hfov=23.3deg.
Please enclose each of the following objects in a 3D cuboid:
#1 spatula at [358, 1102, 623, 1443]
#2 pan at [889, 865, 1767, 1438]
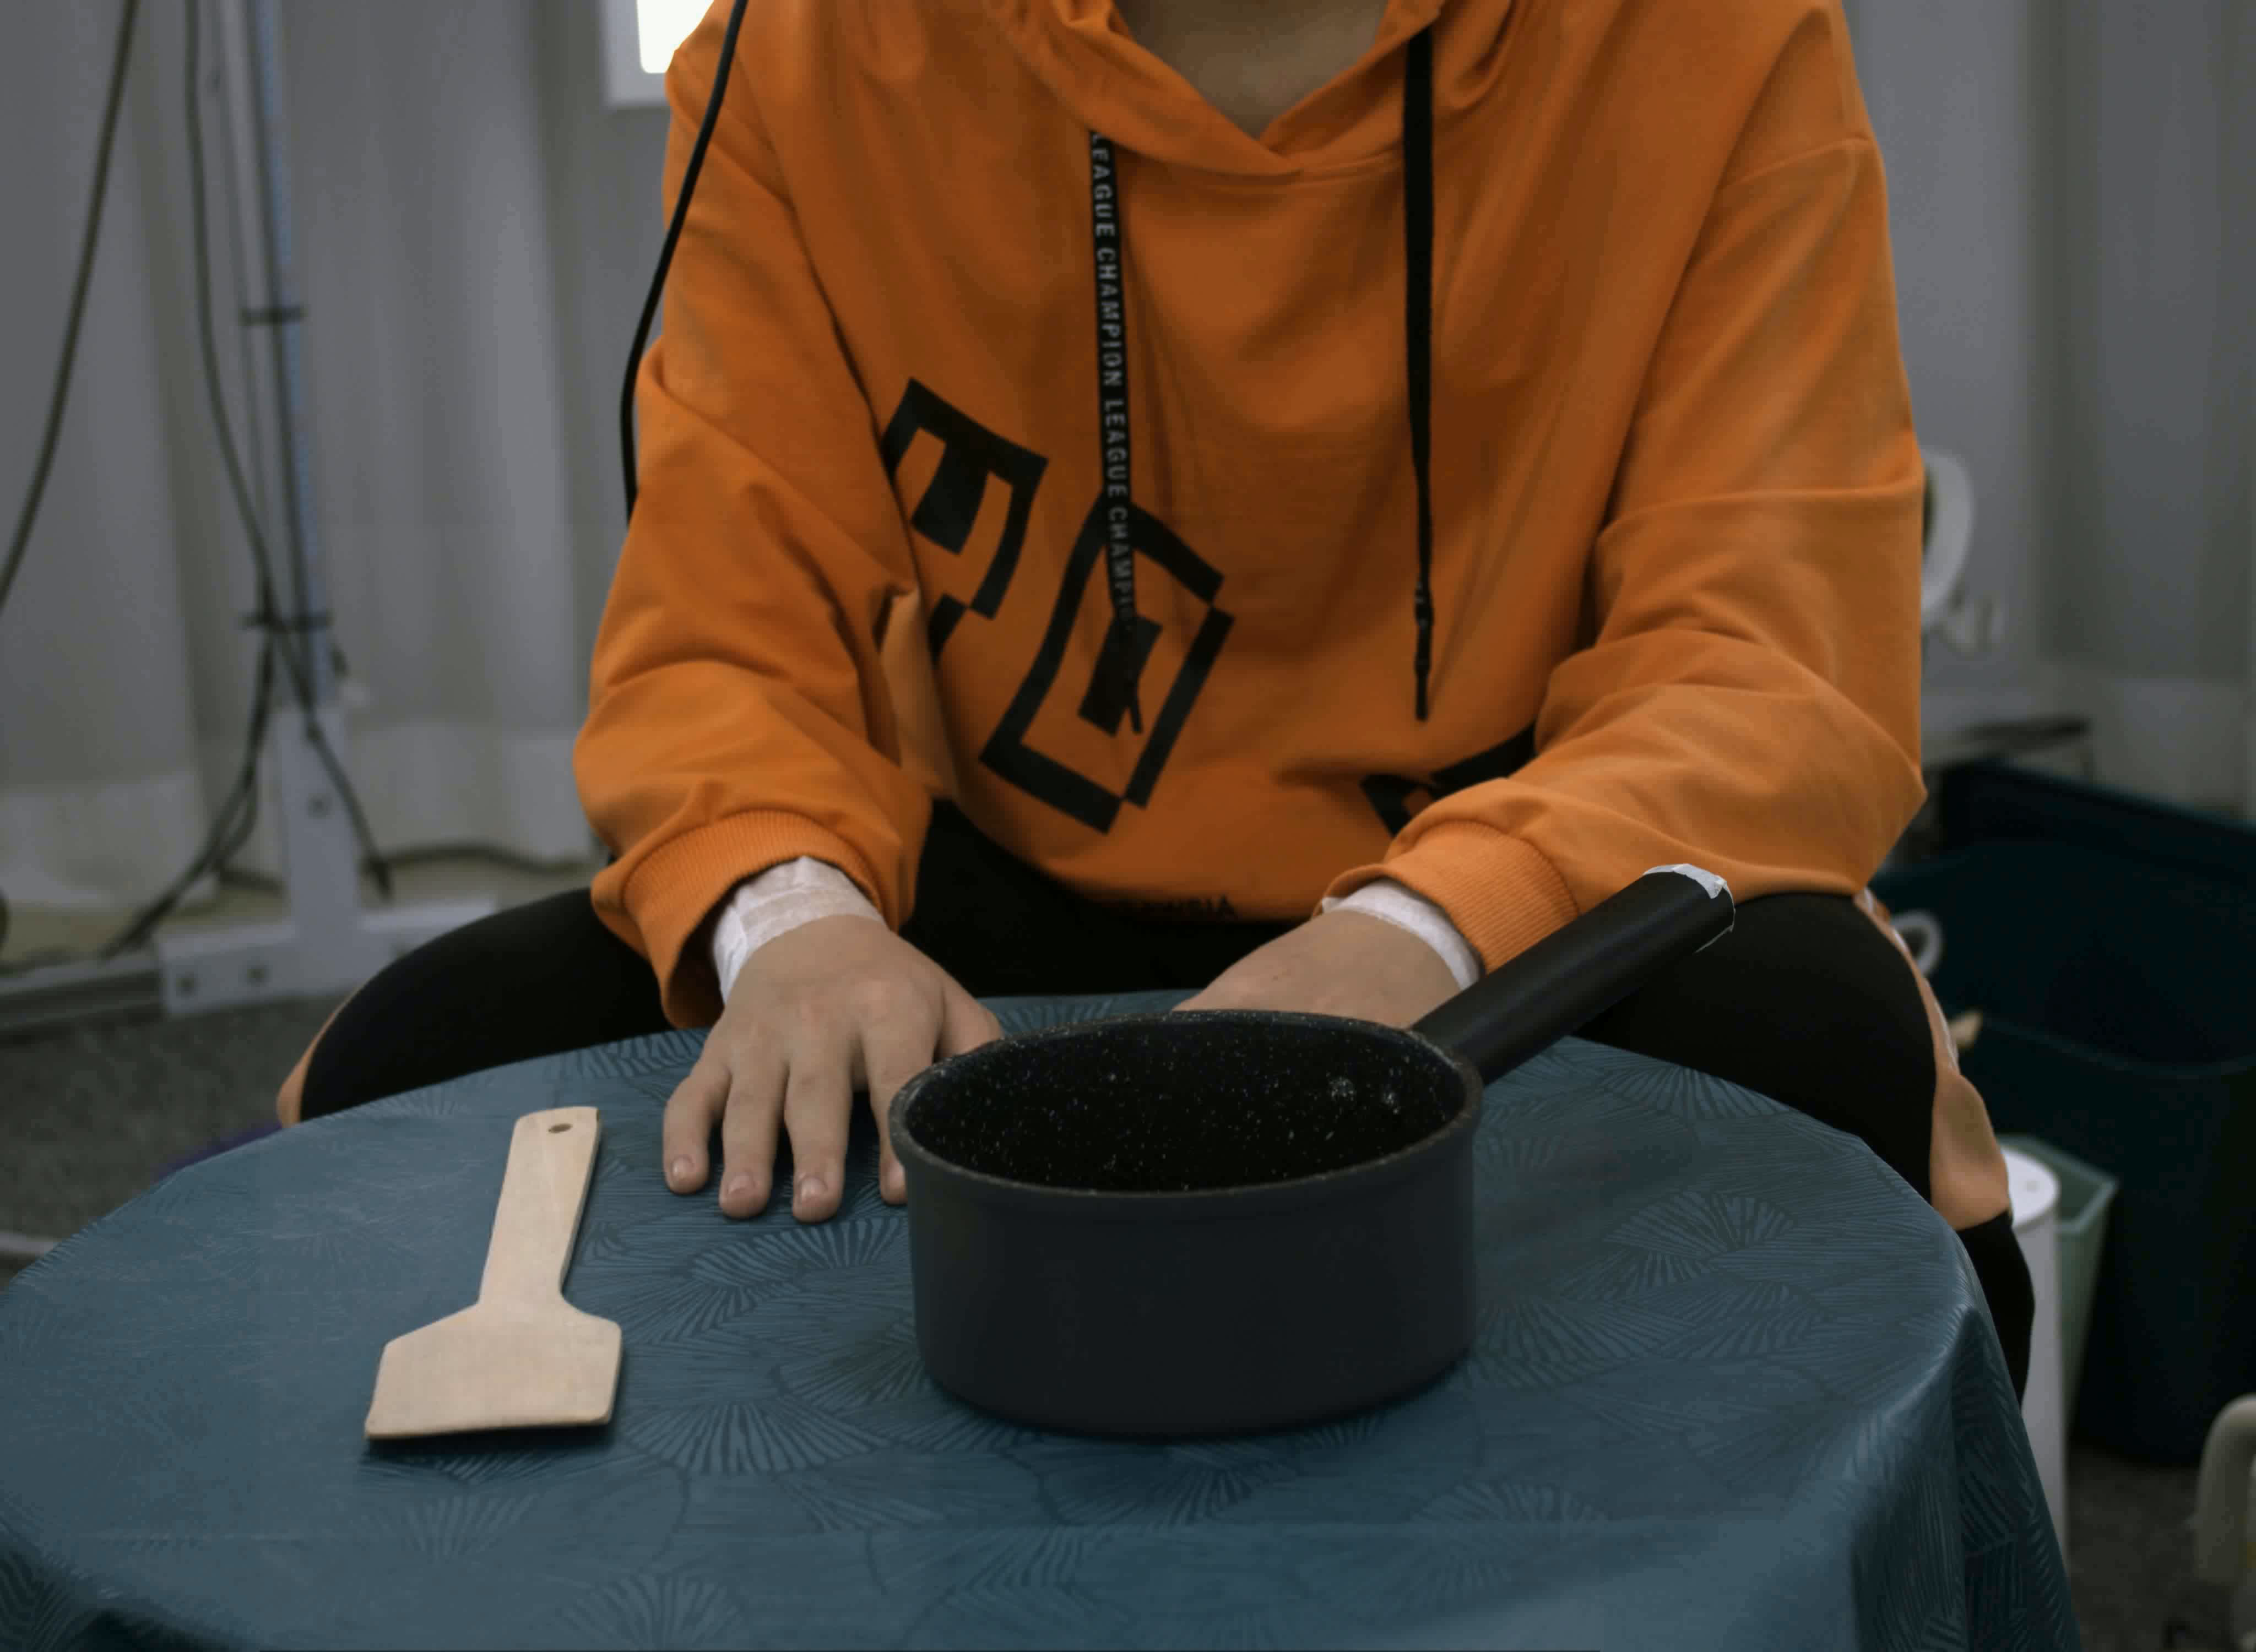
[{"bbox_3d":[-0.183,0.133,1.666,0.072,0.010,0.295,-6,15,1],"label":"spatula"},{"bbox_3d":[0.074,0.092,1.623,0.328,0.086,0.173,-19,22,-41],"label":"pan"}]
